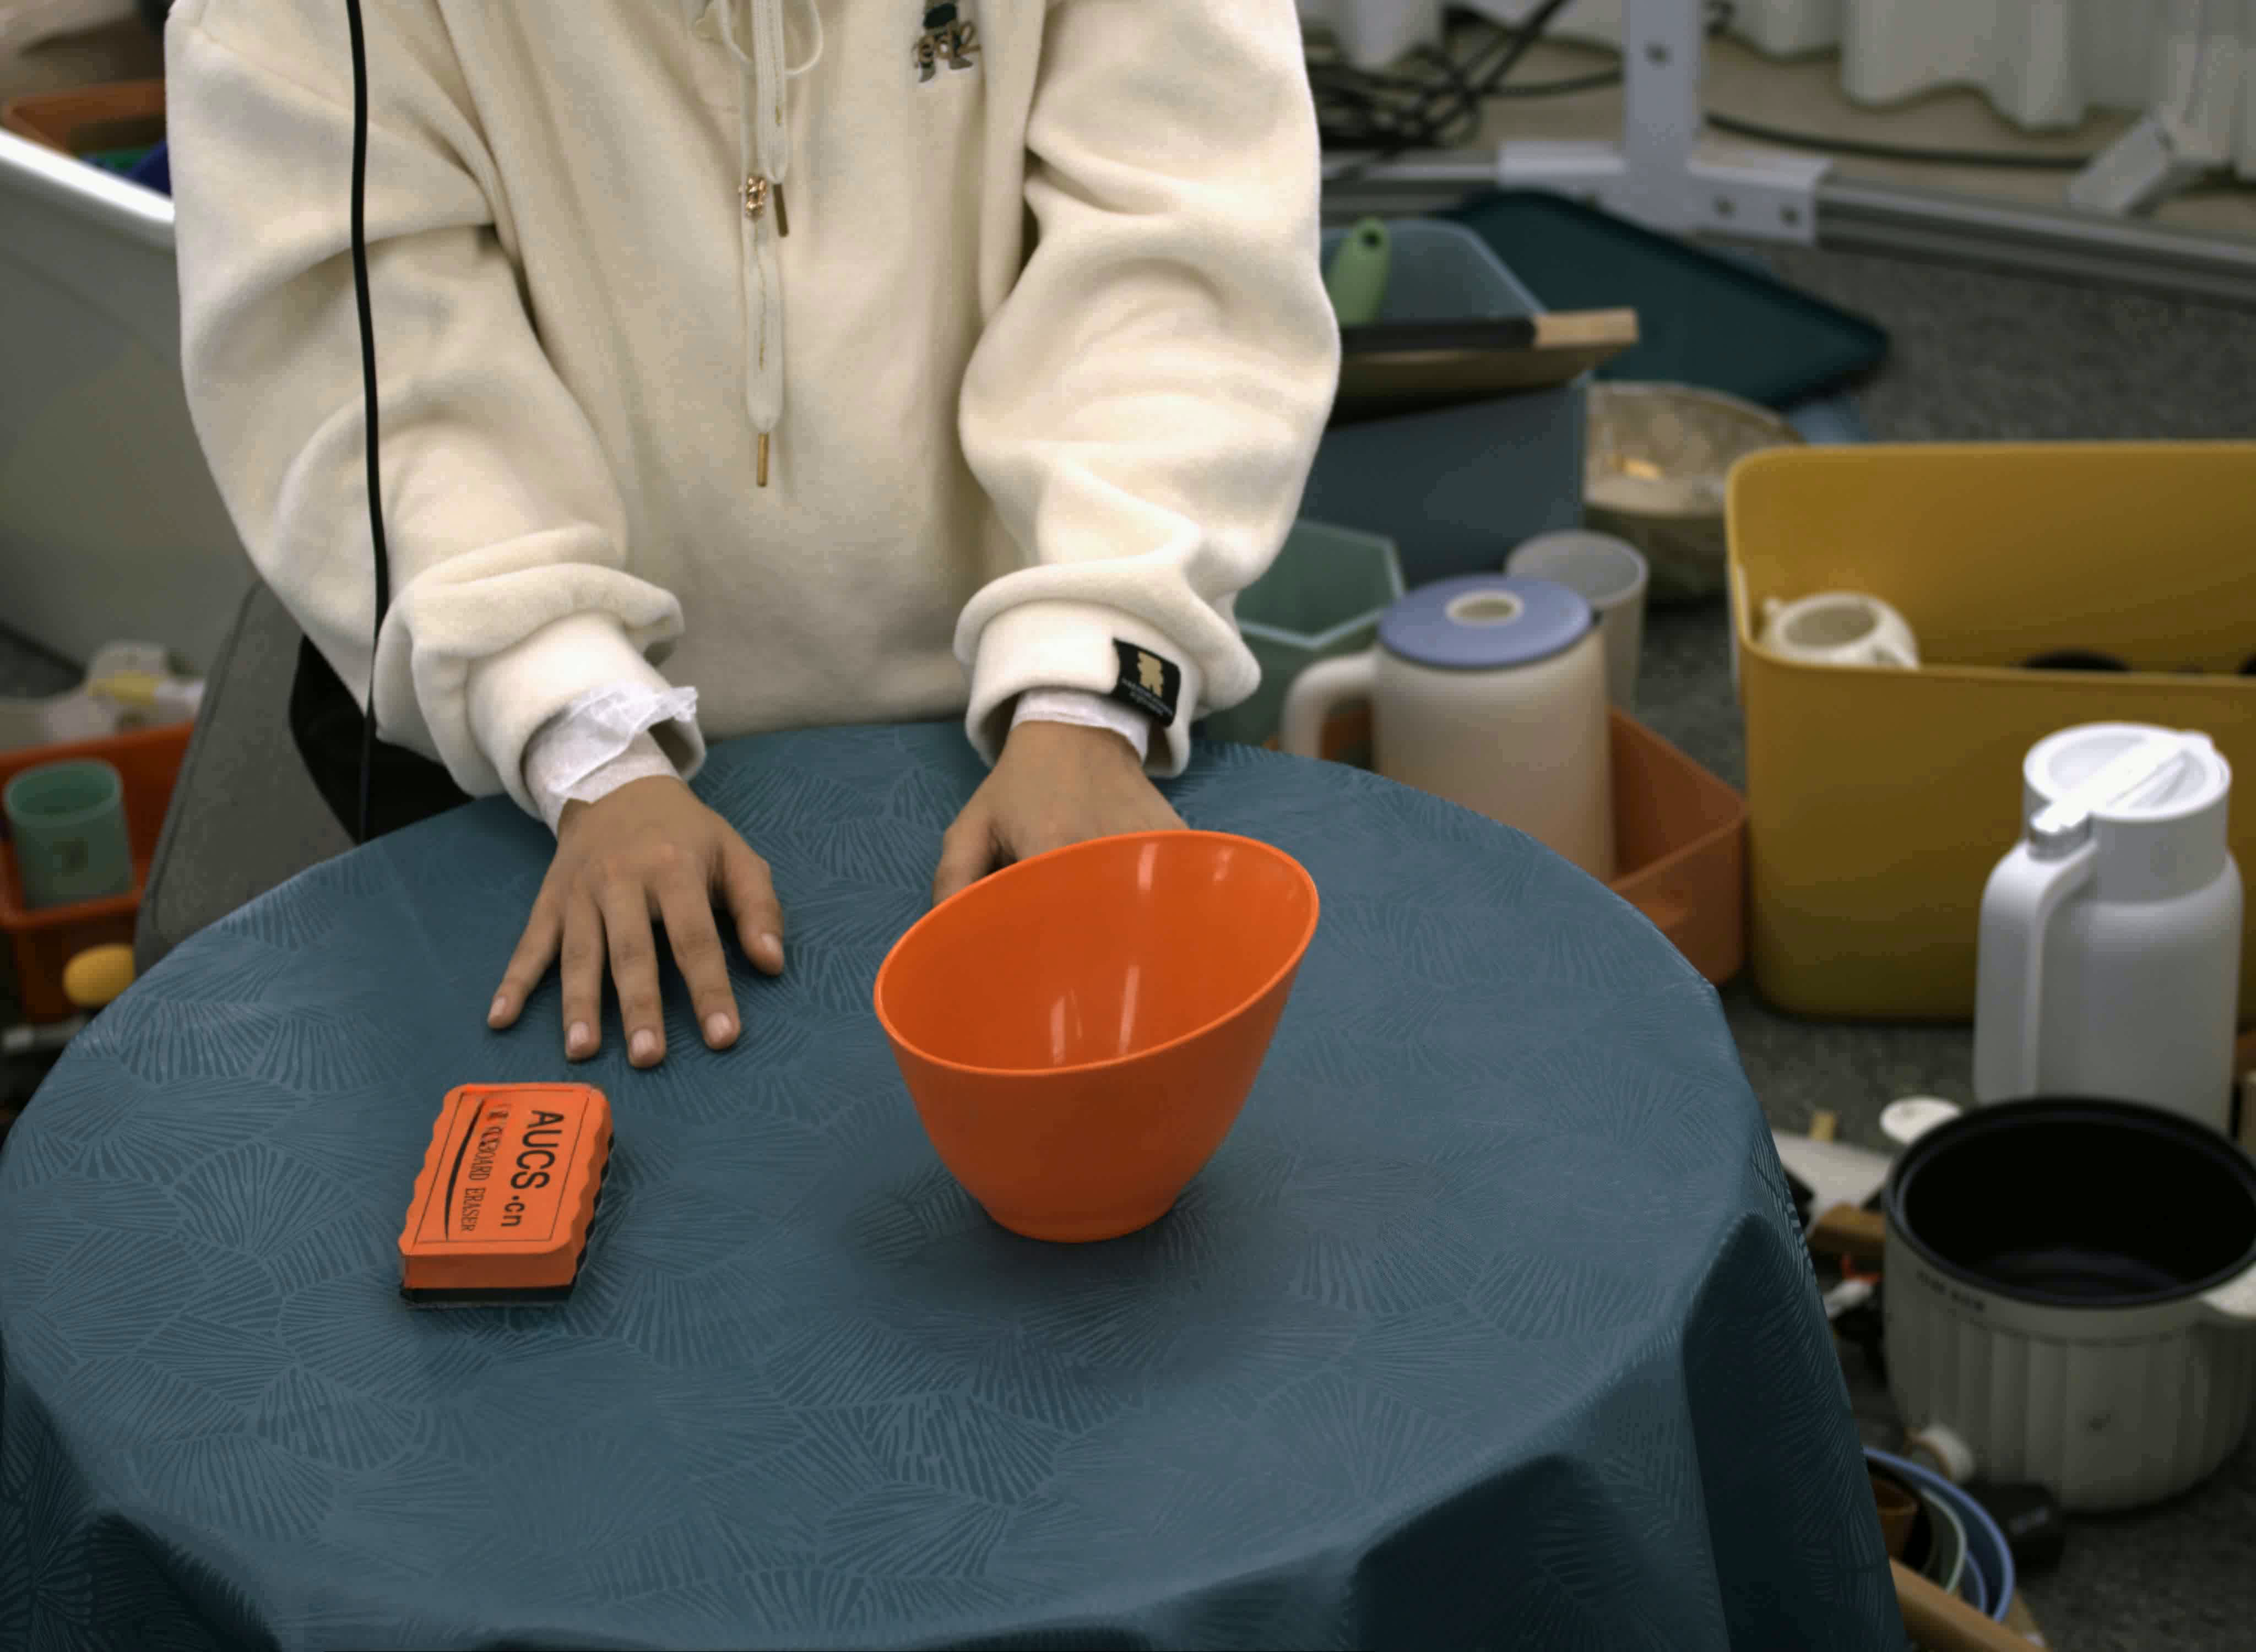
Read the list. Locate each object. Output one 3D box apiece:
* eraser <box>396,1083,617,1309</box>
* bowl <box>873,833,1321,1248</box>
[{"bbox_3d":[-0.205,0.122,1.856,0.058,0.022,0.110,-2,27,6],"label":"eraser"},{"bbox_3d":[-0.008,0.077,1.841,0.147,0.103,0.150,-2,28,2],"label":"bowl"}]
